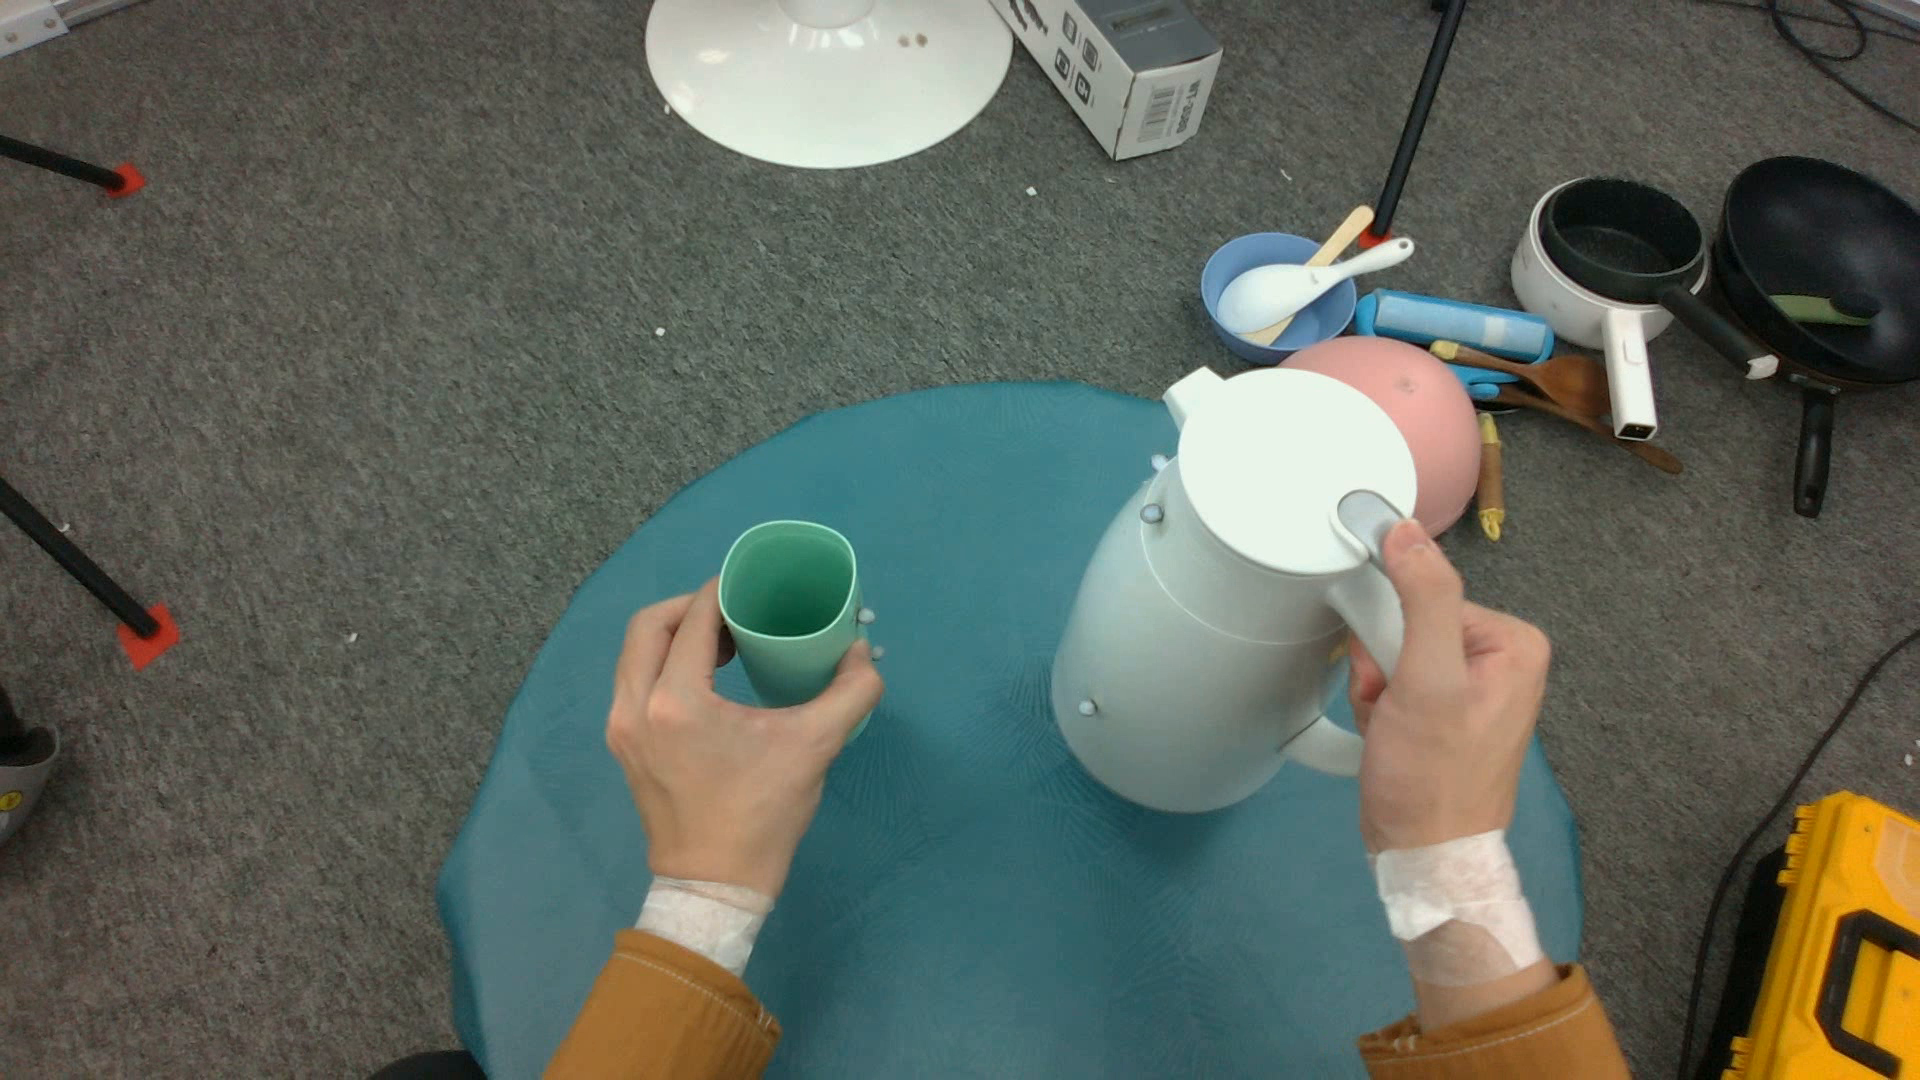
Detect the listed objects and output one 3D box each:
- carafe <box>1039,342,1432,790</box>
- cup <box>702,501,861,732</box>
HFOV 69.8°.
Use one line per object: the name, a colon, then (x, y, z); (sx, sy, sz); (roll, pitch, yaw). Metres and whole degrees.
carafe: (0.128, 0.027, 0.620); (0.133, 0.247, 0.168); (-36, 71, -21)
cup: (-0.085, 0.043, 0.683); (0.067, 0.132, 0.067); (0, 59, 1)
